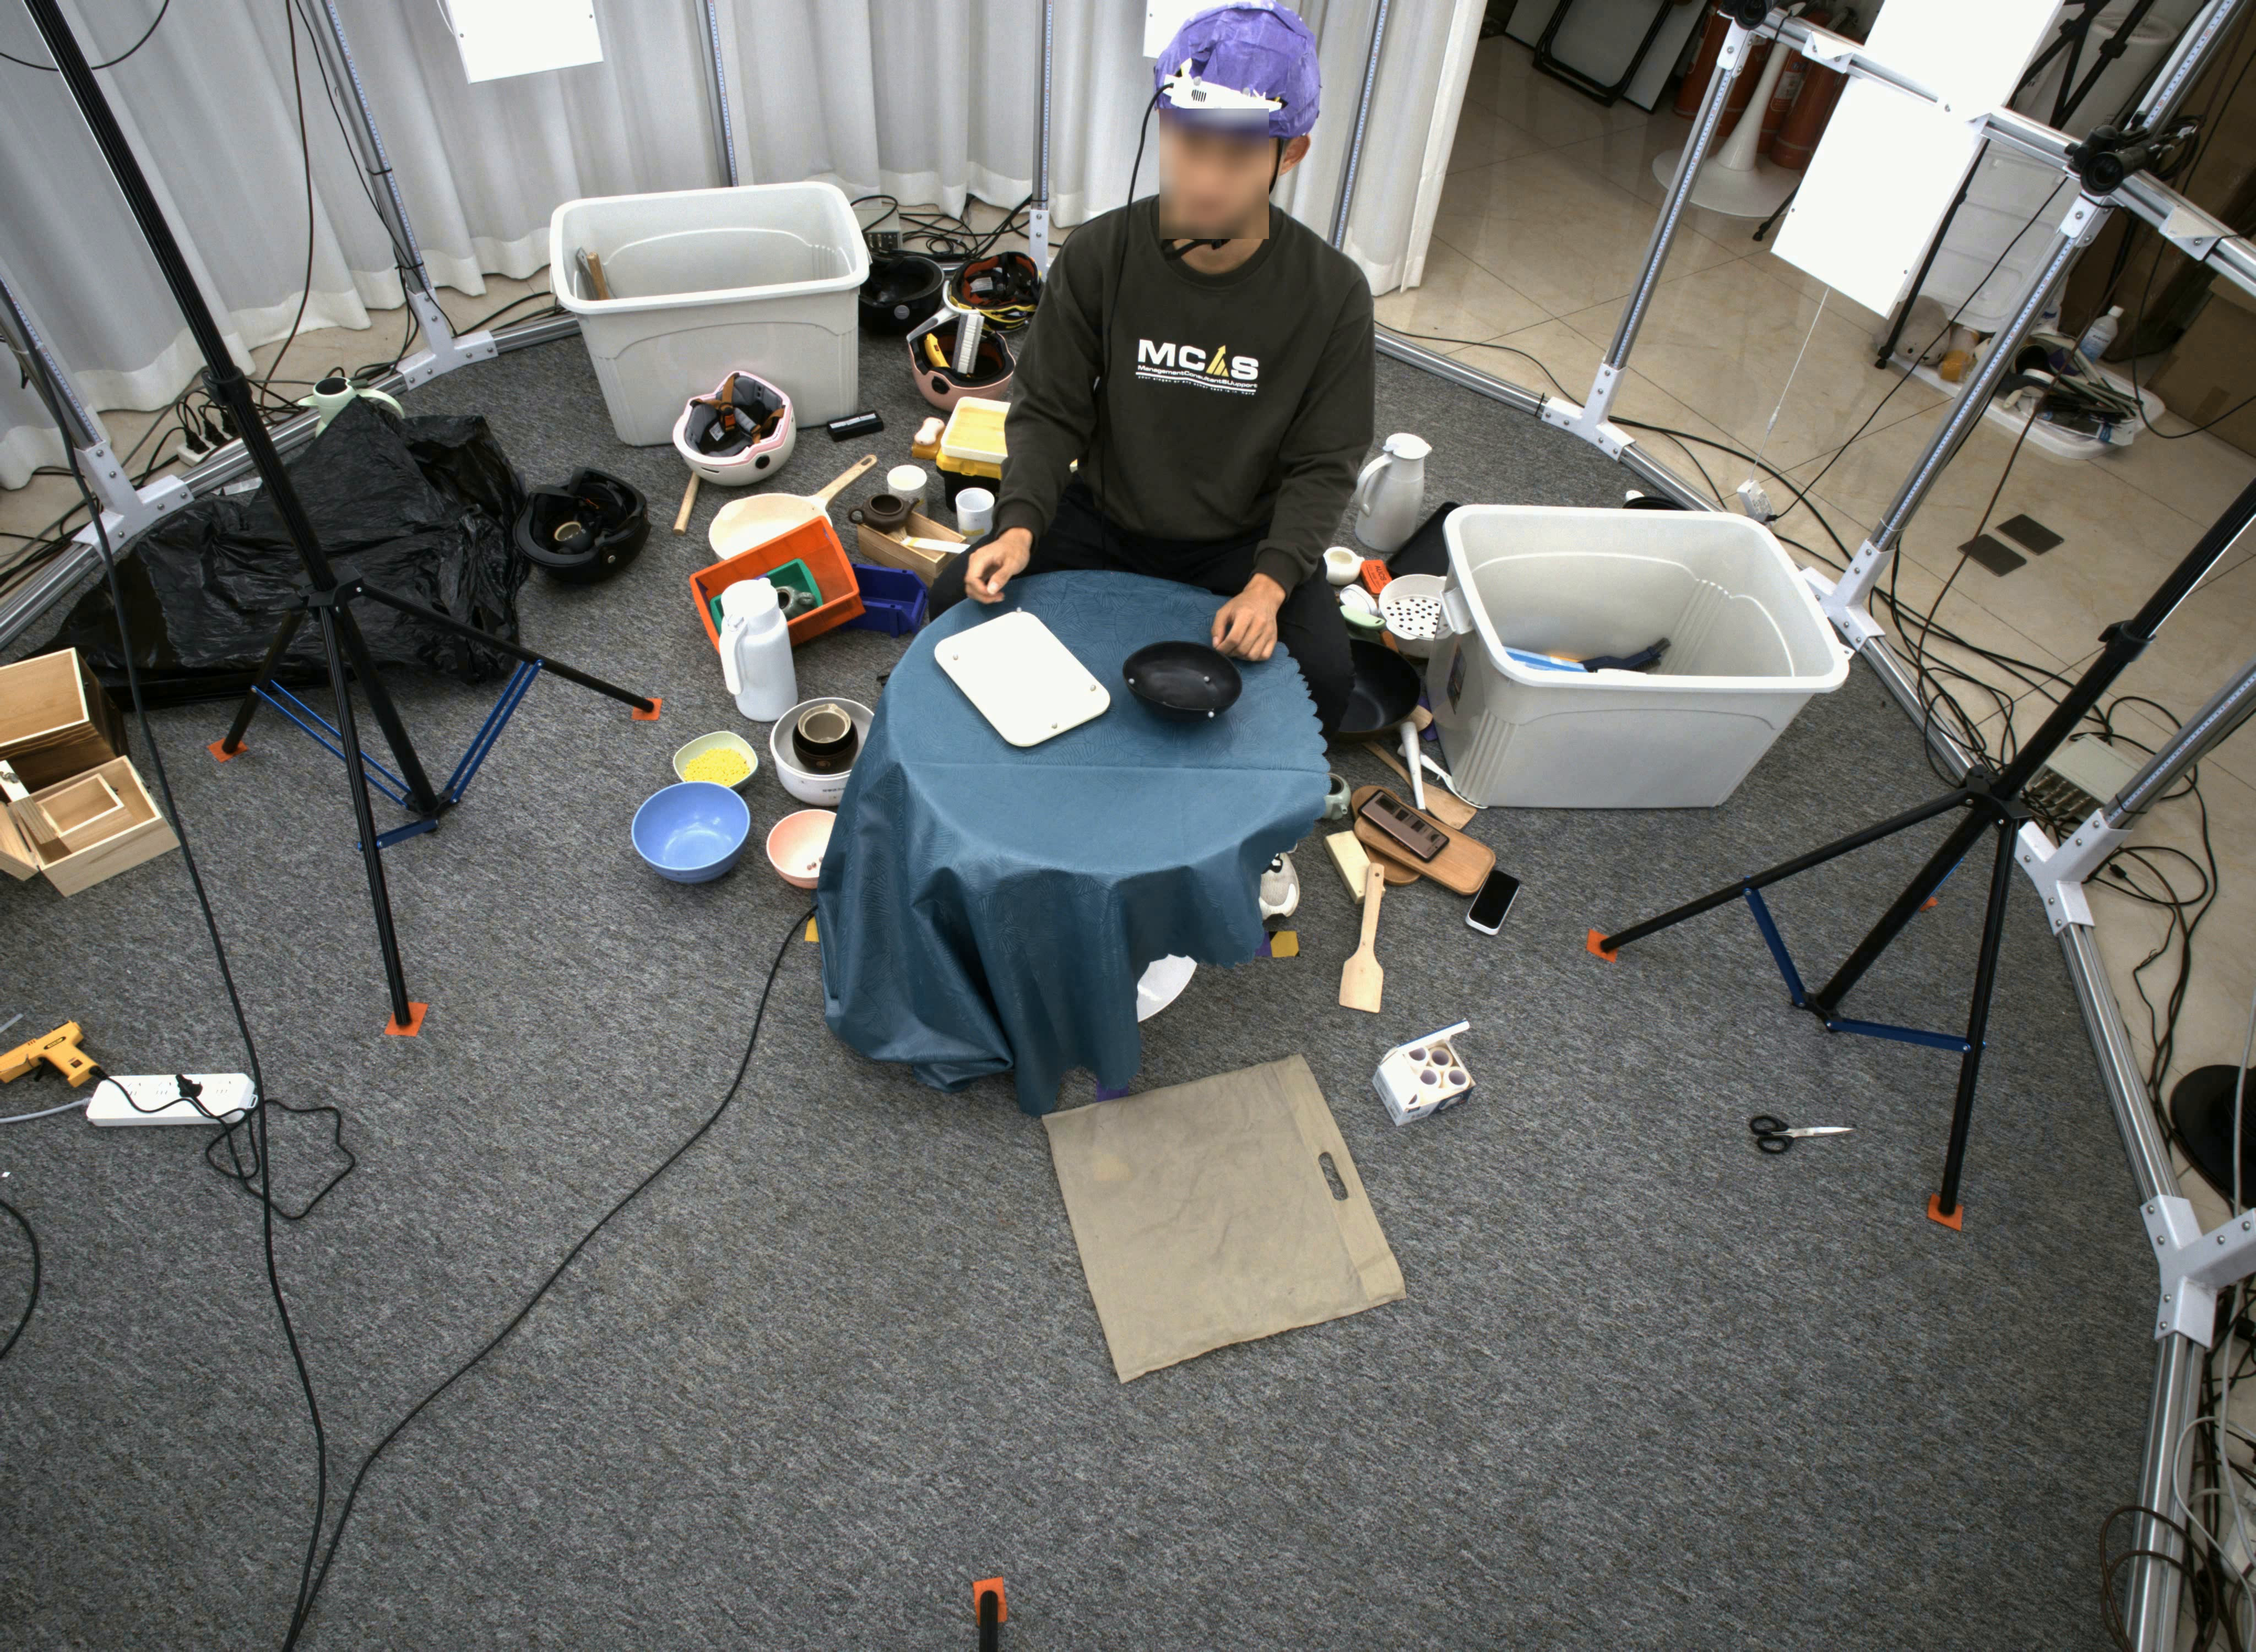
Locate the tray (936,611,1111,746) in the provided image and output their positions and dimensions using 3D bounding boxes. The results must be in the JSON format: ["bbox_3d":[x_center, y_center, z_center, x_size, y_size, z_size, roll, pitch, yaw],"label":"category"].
[{"bbox_3d":[-0.149,-0.211,1.825,0.172,0.017,0.244,-27,56,-24],"label":"tray"}]

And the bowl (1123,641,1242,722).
[{"bbox_3d":[0.074,-0.191,1.796,0.171,0.065,0.140,15,48,11],"label":"bowl"}]
